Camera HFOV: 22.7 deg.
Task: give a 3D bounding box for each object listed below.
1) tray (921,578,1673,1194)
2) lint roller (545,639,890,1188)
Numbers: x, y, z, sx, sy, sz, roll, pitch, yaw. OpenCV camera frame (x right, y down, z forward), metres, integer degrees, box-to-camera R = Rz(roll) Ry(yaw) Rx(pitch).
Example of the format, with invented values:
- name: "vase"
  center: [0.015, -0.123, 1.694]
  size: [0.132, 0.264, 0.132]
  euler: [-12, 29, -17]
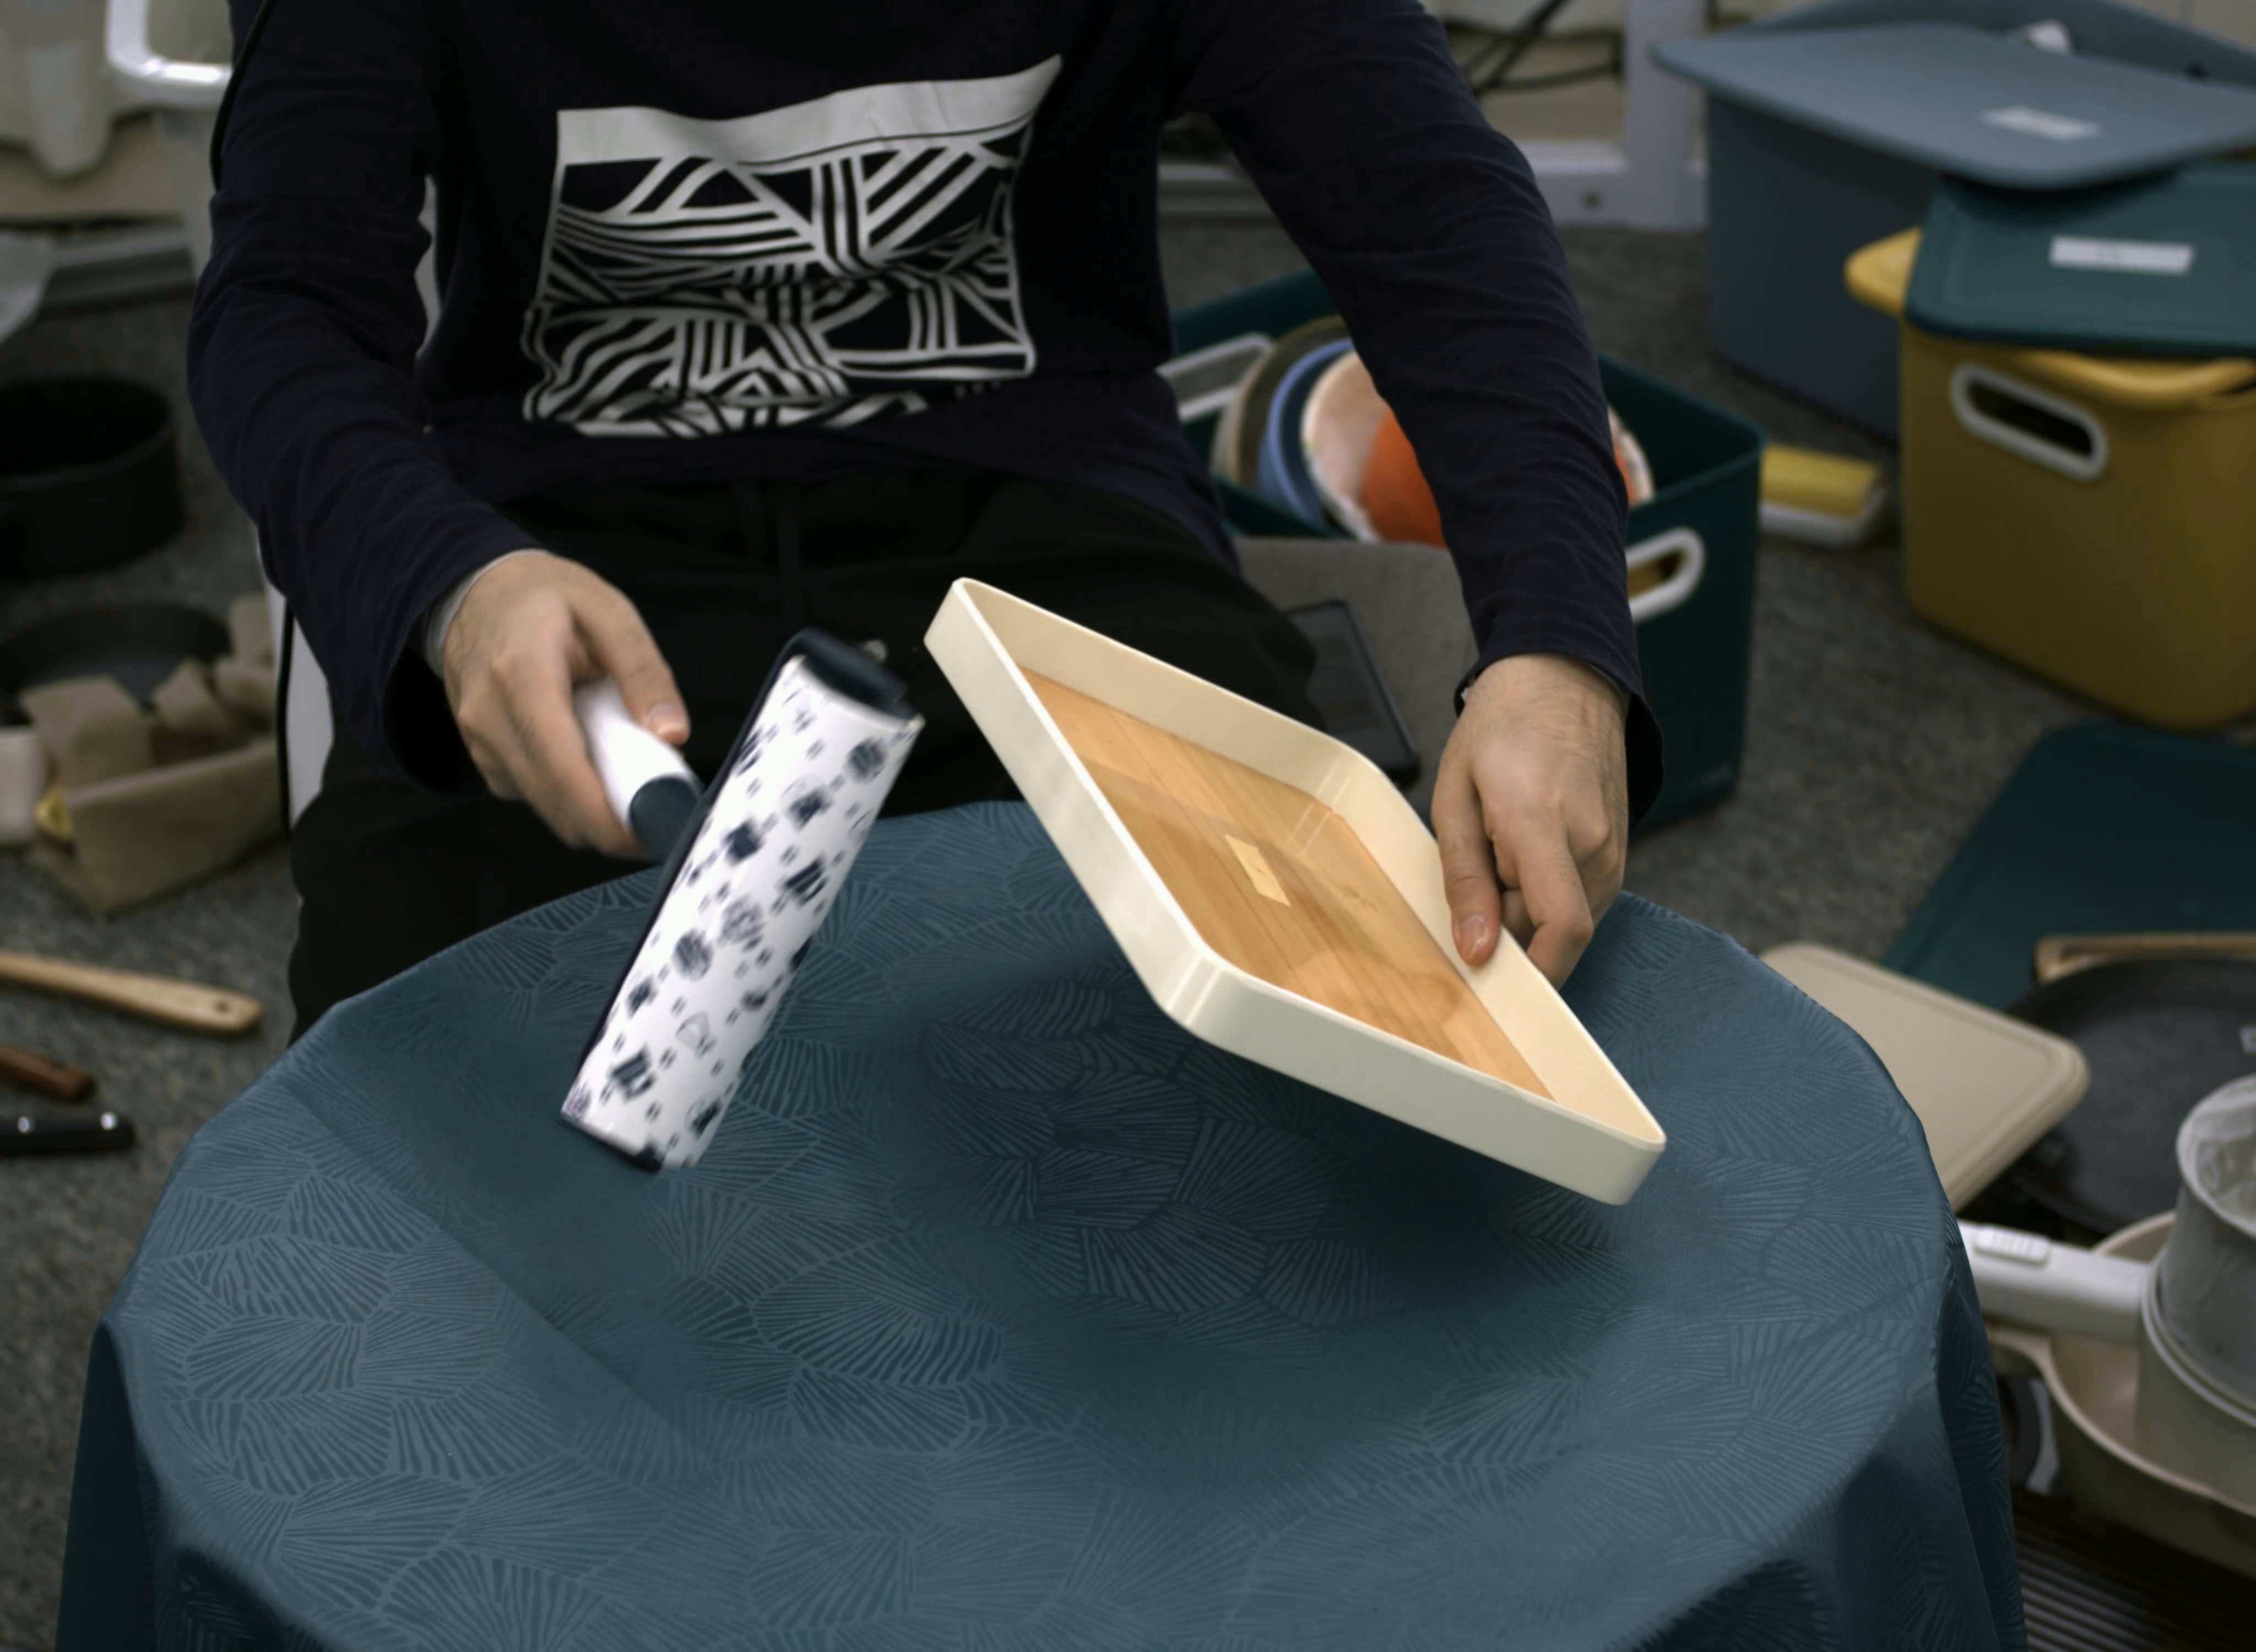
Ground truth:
- name: "tray"
  center: [0.050, 0.016, 1.878]
  size: [0.191, 0.027, 0.303]
  euler: [21, 18, -27]
- name: "lint roller"
  center: [-0.162, -0.003, 1.865]
  size: [0.050, 0.176, 0.248]
  euler: [20, 11, -27]
